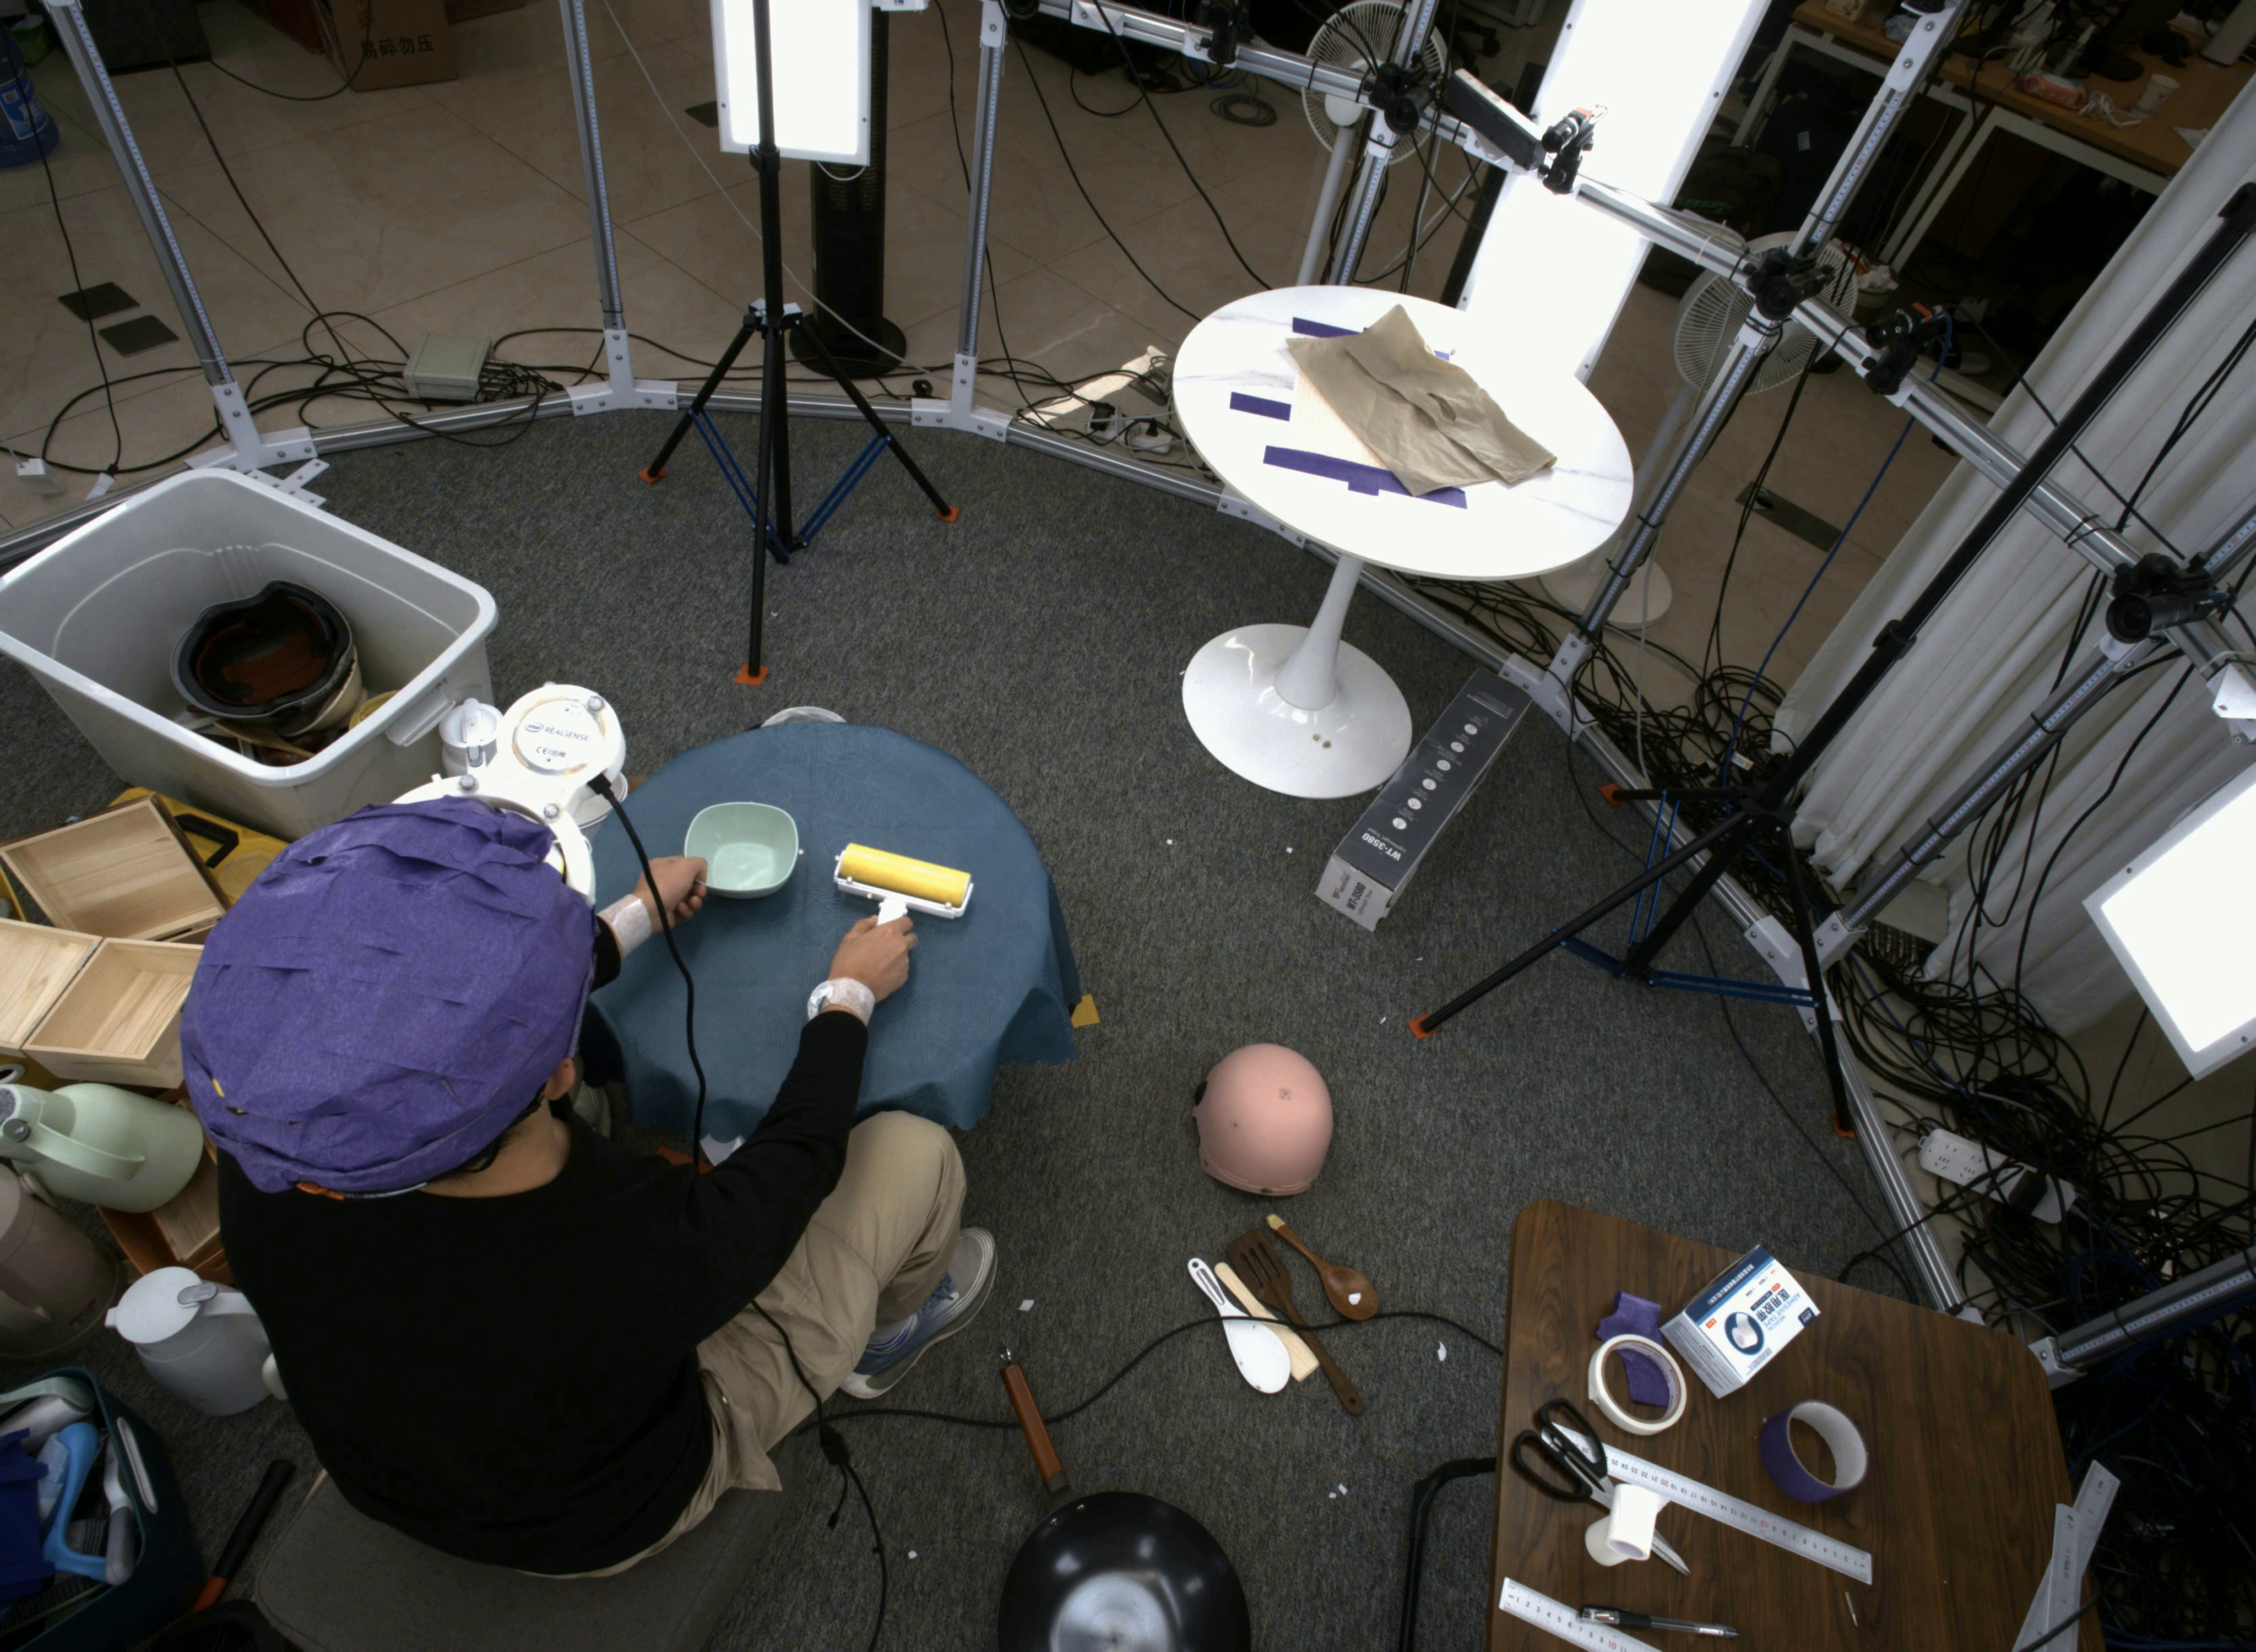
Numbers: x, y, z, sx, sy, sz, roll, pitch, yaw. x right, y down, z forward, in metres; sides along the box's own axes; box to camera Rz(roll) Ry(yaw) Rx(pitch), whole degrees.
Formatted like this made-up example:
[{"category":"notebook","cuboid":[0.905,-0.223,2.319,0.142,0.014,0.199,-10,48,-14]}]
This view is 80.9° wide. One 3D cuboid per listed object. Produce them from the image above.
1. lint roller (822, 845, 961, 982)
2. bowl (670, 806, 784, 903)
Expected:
[{"category":"lint roller","cuboid":[-0.309,0.108,1.620,0.173,0.052,0.188,12,40,-4]},{"category":"bowl","cuboid":[-0.503,0.044,1.628,0.151,0.060,0.148,9,50,-9]}]
